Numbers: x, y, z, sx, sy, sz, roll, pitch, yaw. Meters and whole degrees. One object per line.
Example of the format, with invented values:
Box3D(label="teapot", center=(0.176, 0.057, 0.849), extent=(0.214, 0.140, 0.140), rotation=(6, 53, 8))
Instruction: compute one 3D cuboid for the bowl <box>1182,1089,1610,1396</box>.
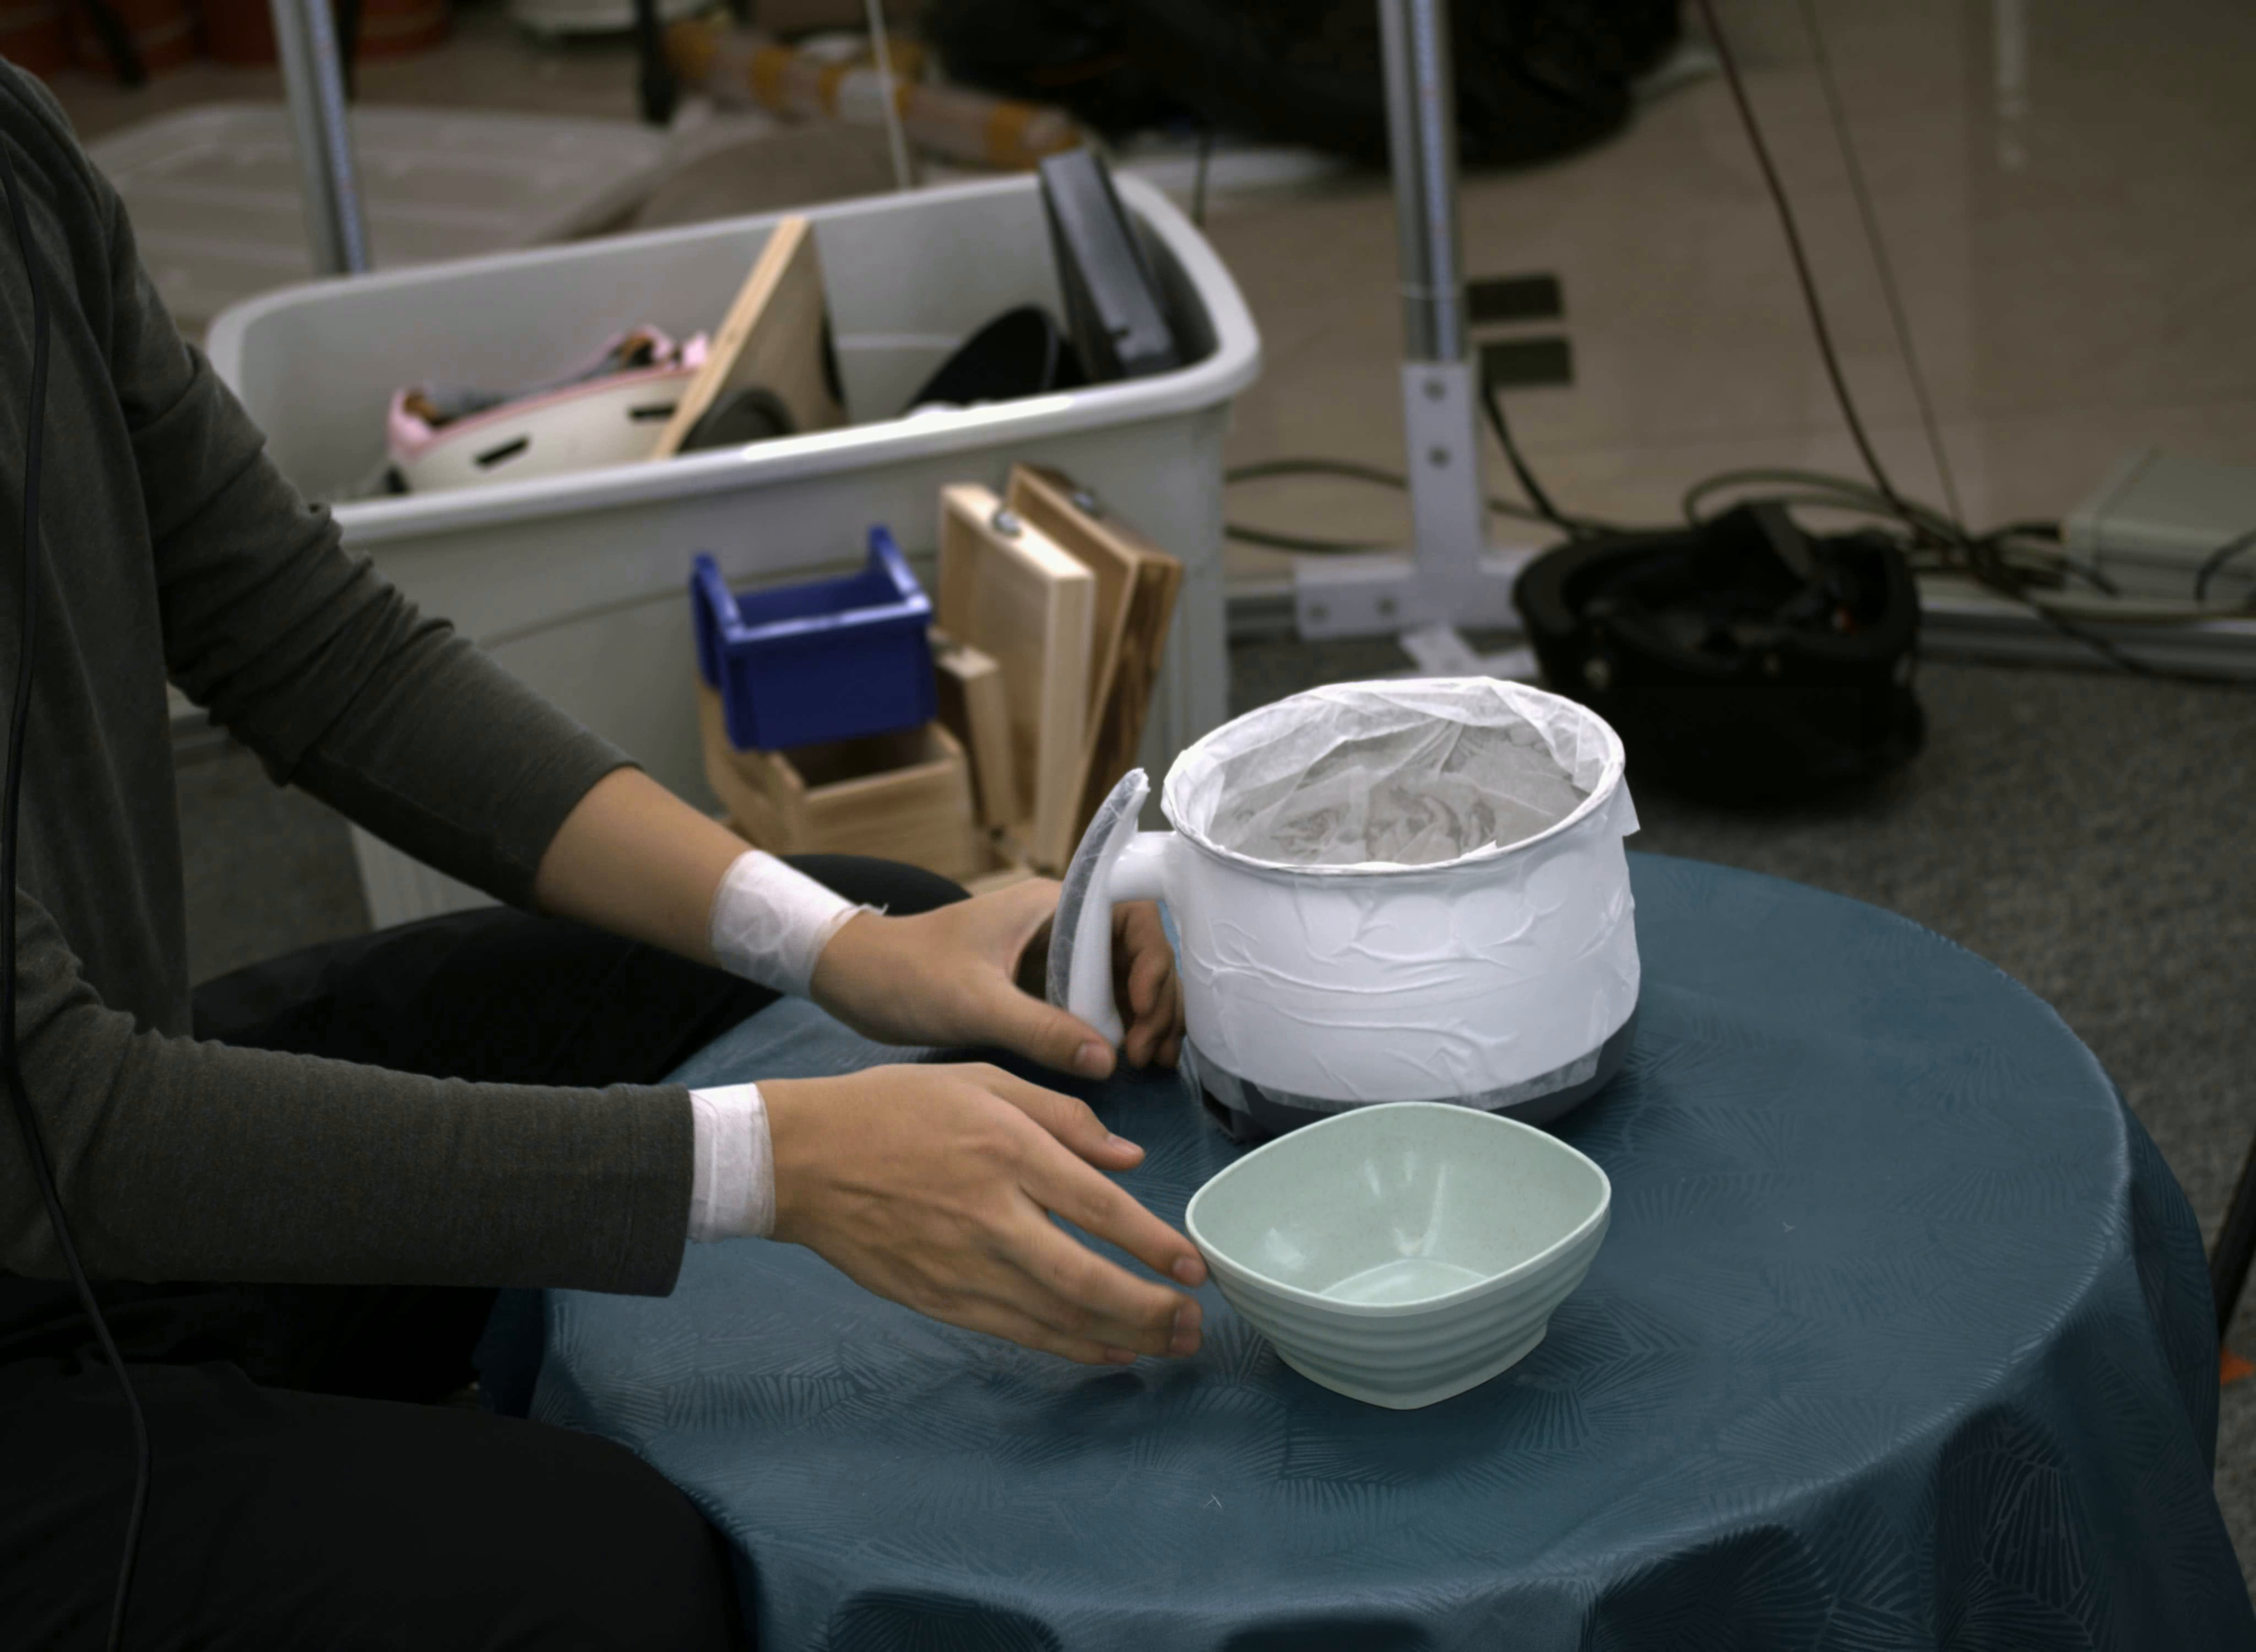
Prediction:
Box3D(label="bowl", center=(0.094, 0.153, 2.015), extent=(0.151, 0.059, 0.149), rotation=(1, 26, -1))

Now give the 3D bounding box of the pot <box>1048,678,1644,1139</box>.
Box3D(label="pot", center=(0.081, 0.038, 2.184), extent=(0.233, 0.139, 0.176), rotation=(-3, 25, 9))
